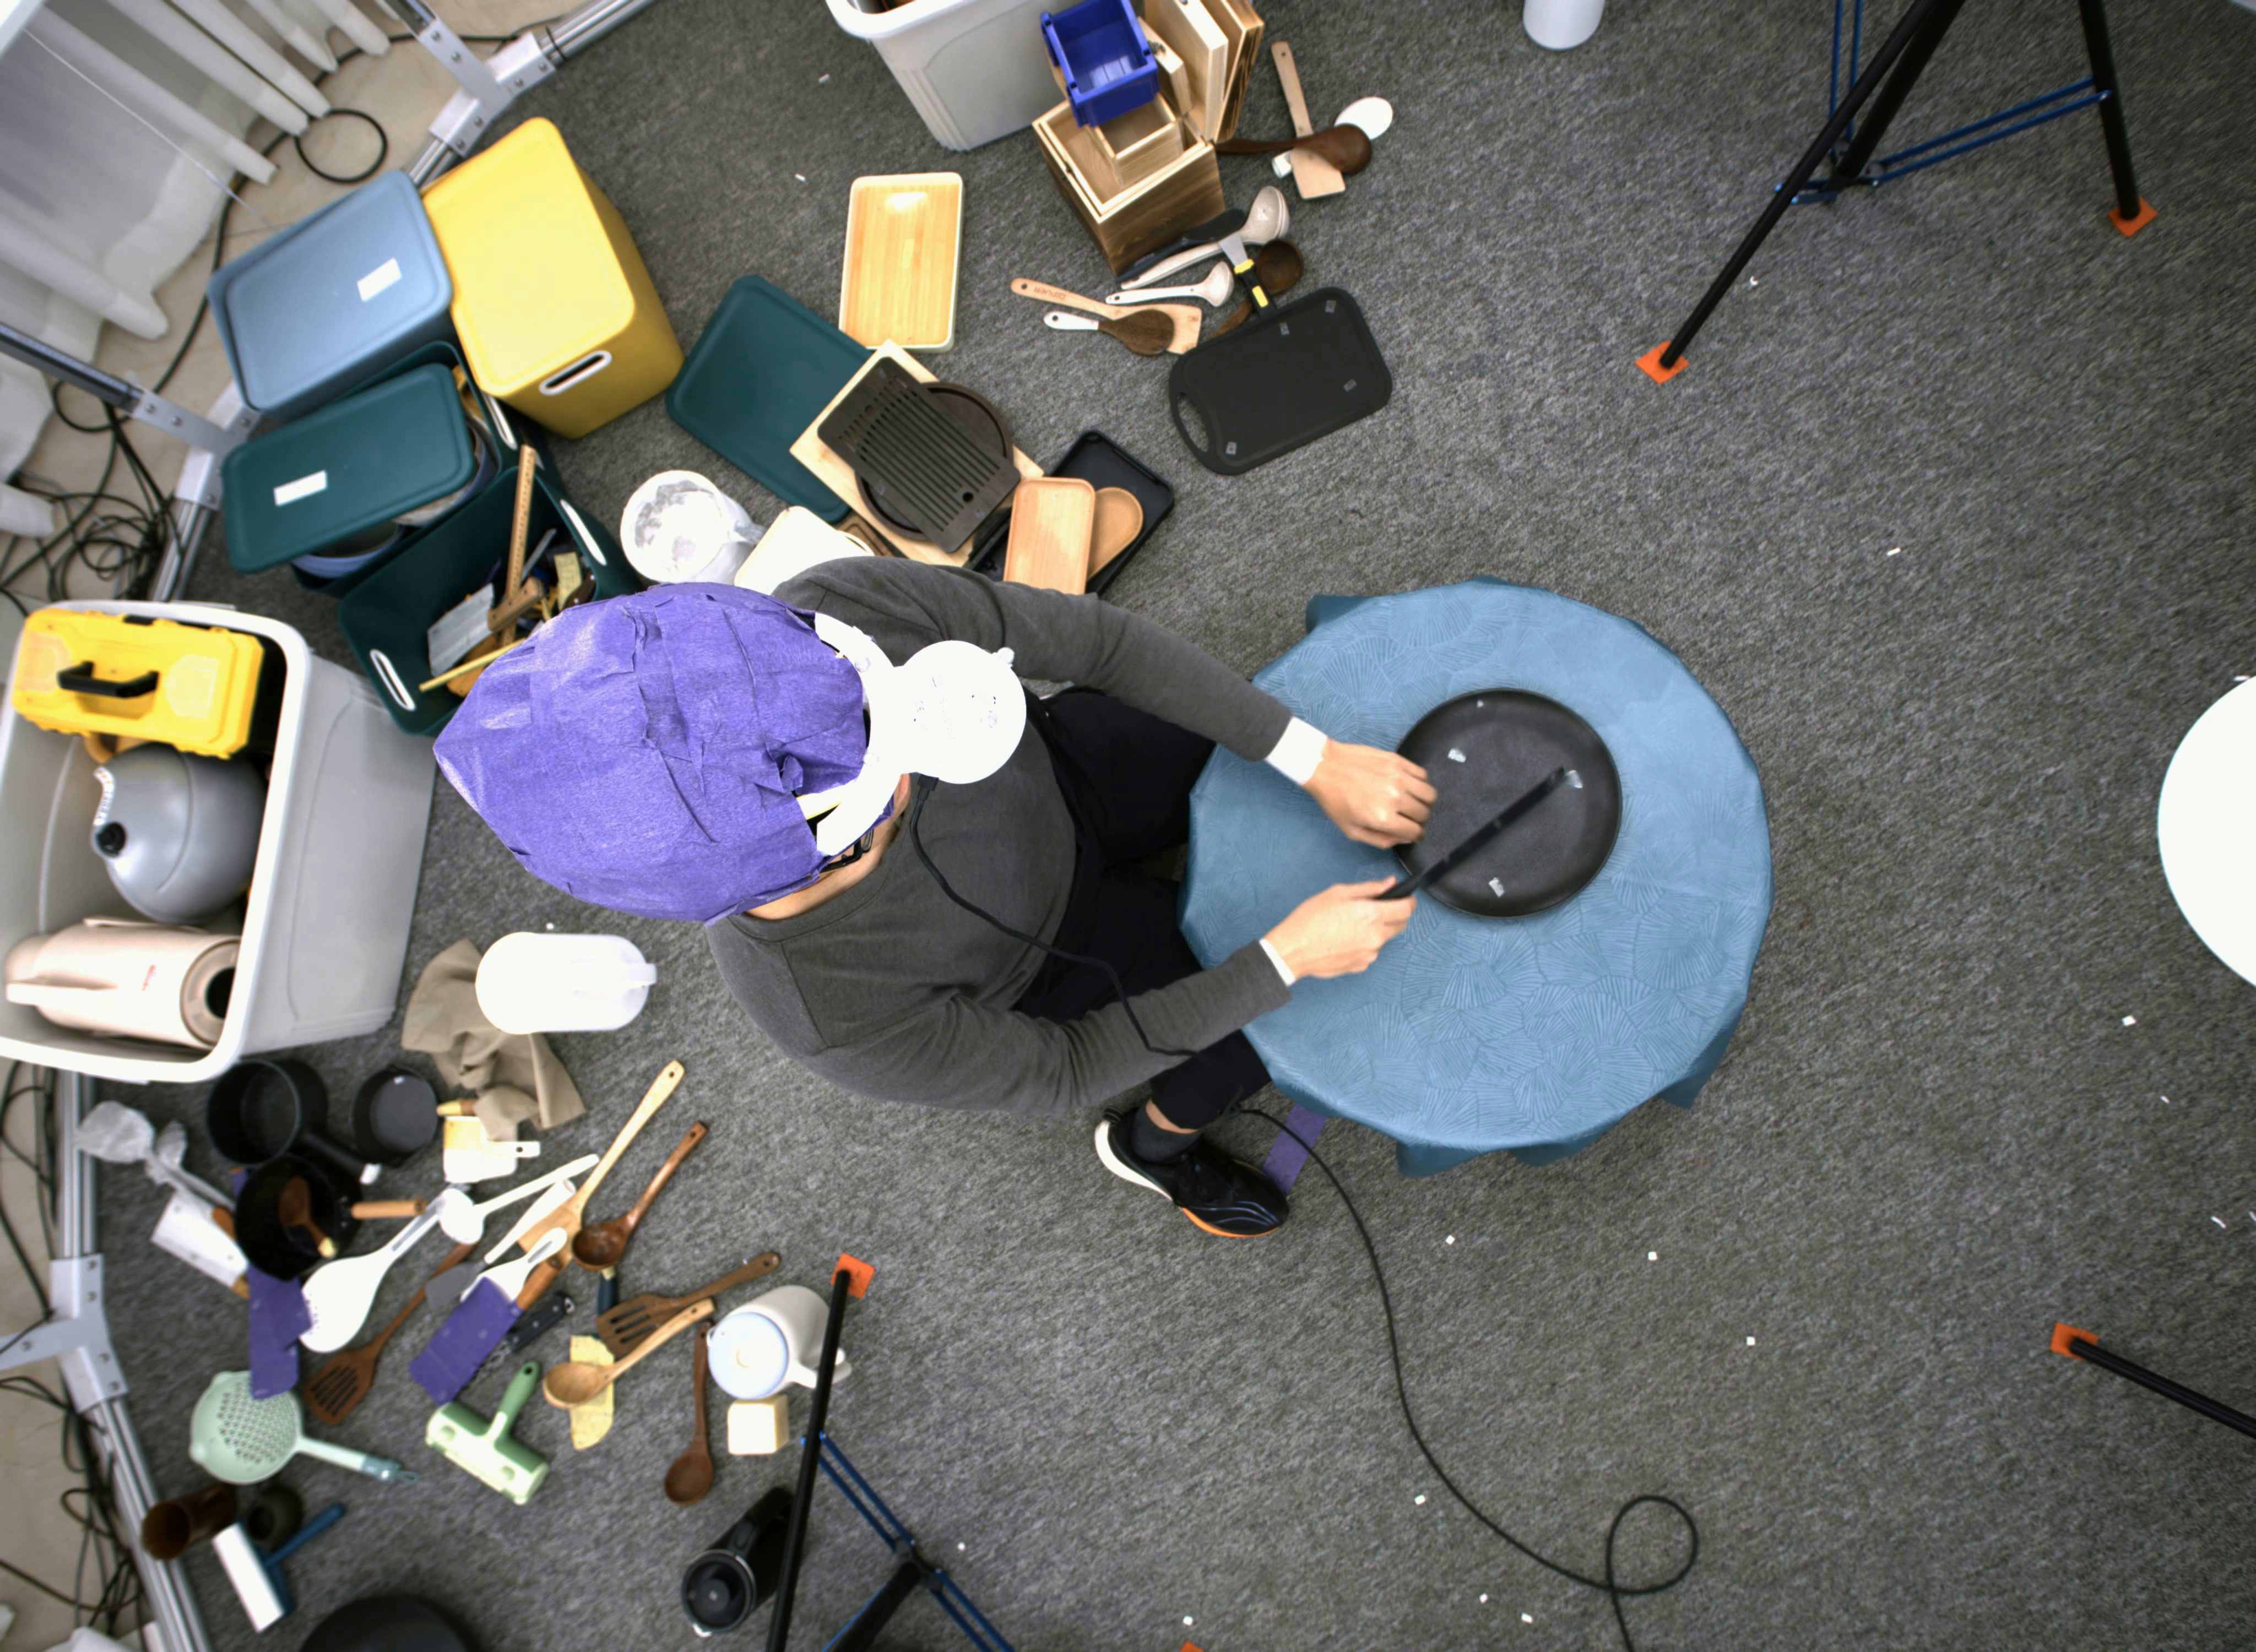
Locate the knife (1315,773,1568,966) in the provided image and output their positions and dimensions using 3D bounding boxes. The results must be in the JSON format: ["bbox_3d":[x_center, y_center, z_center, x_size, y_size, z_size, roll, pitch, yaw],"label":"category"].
[{"bbox_3d":[0.309,0.043,1.360,0.304,0.081,0.020,-37,67,9],"label":"knife"}]

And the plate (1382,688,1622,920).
[{"bbox_3d":[0.388,-0.025,1.432,0.245,0.023,0.243,-1,87,11],"label":"plate"}]
